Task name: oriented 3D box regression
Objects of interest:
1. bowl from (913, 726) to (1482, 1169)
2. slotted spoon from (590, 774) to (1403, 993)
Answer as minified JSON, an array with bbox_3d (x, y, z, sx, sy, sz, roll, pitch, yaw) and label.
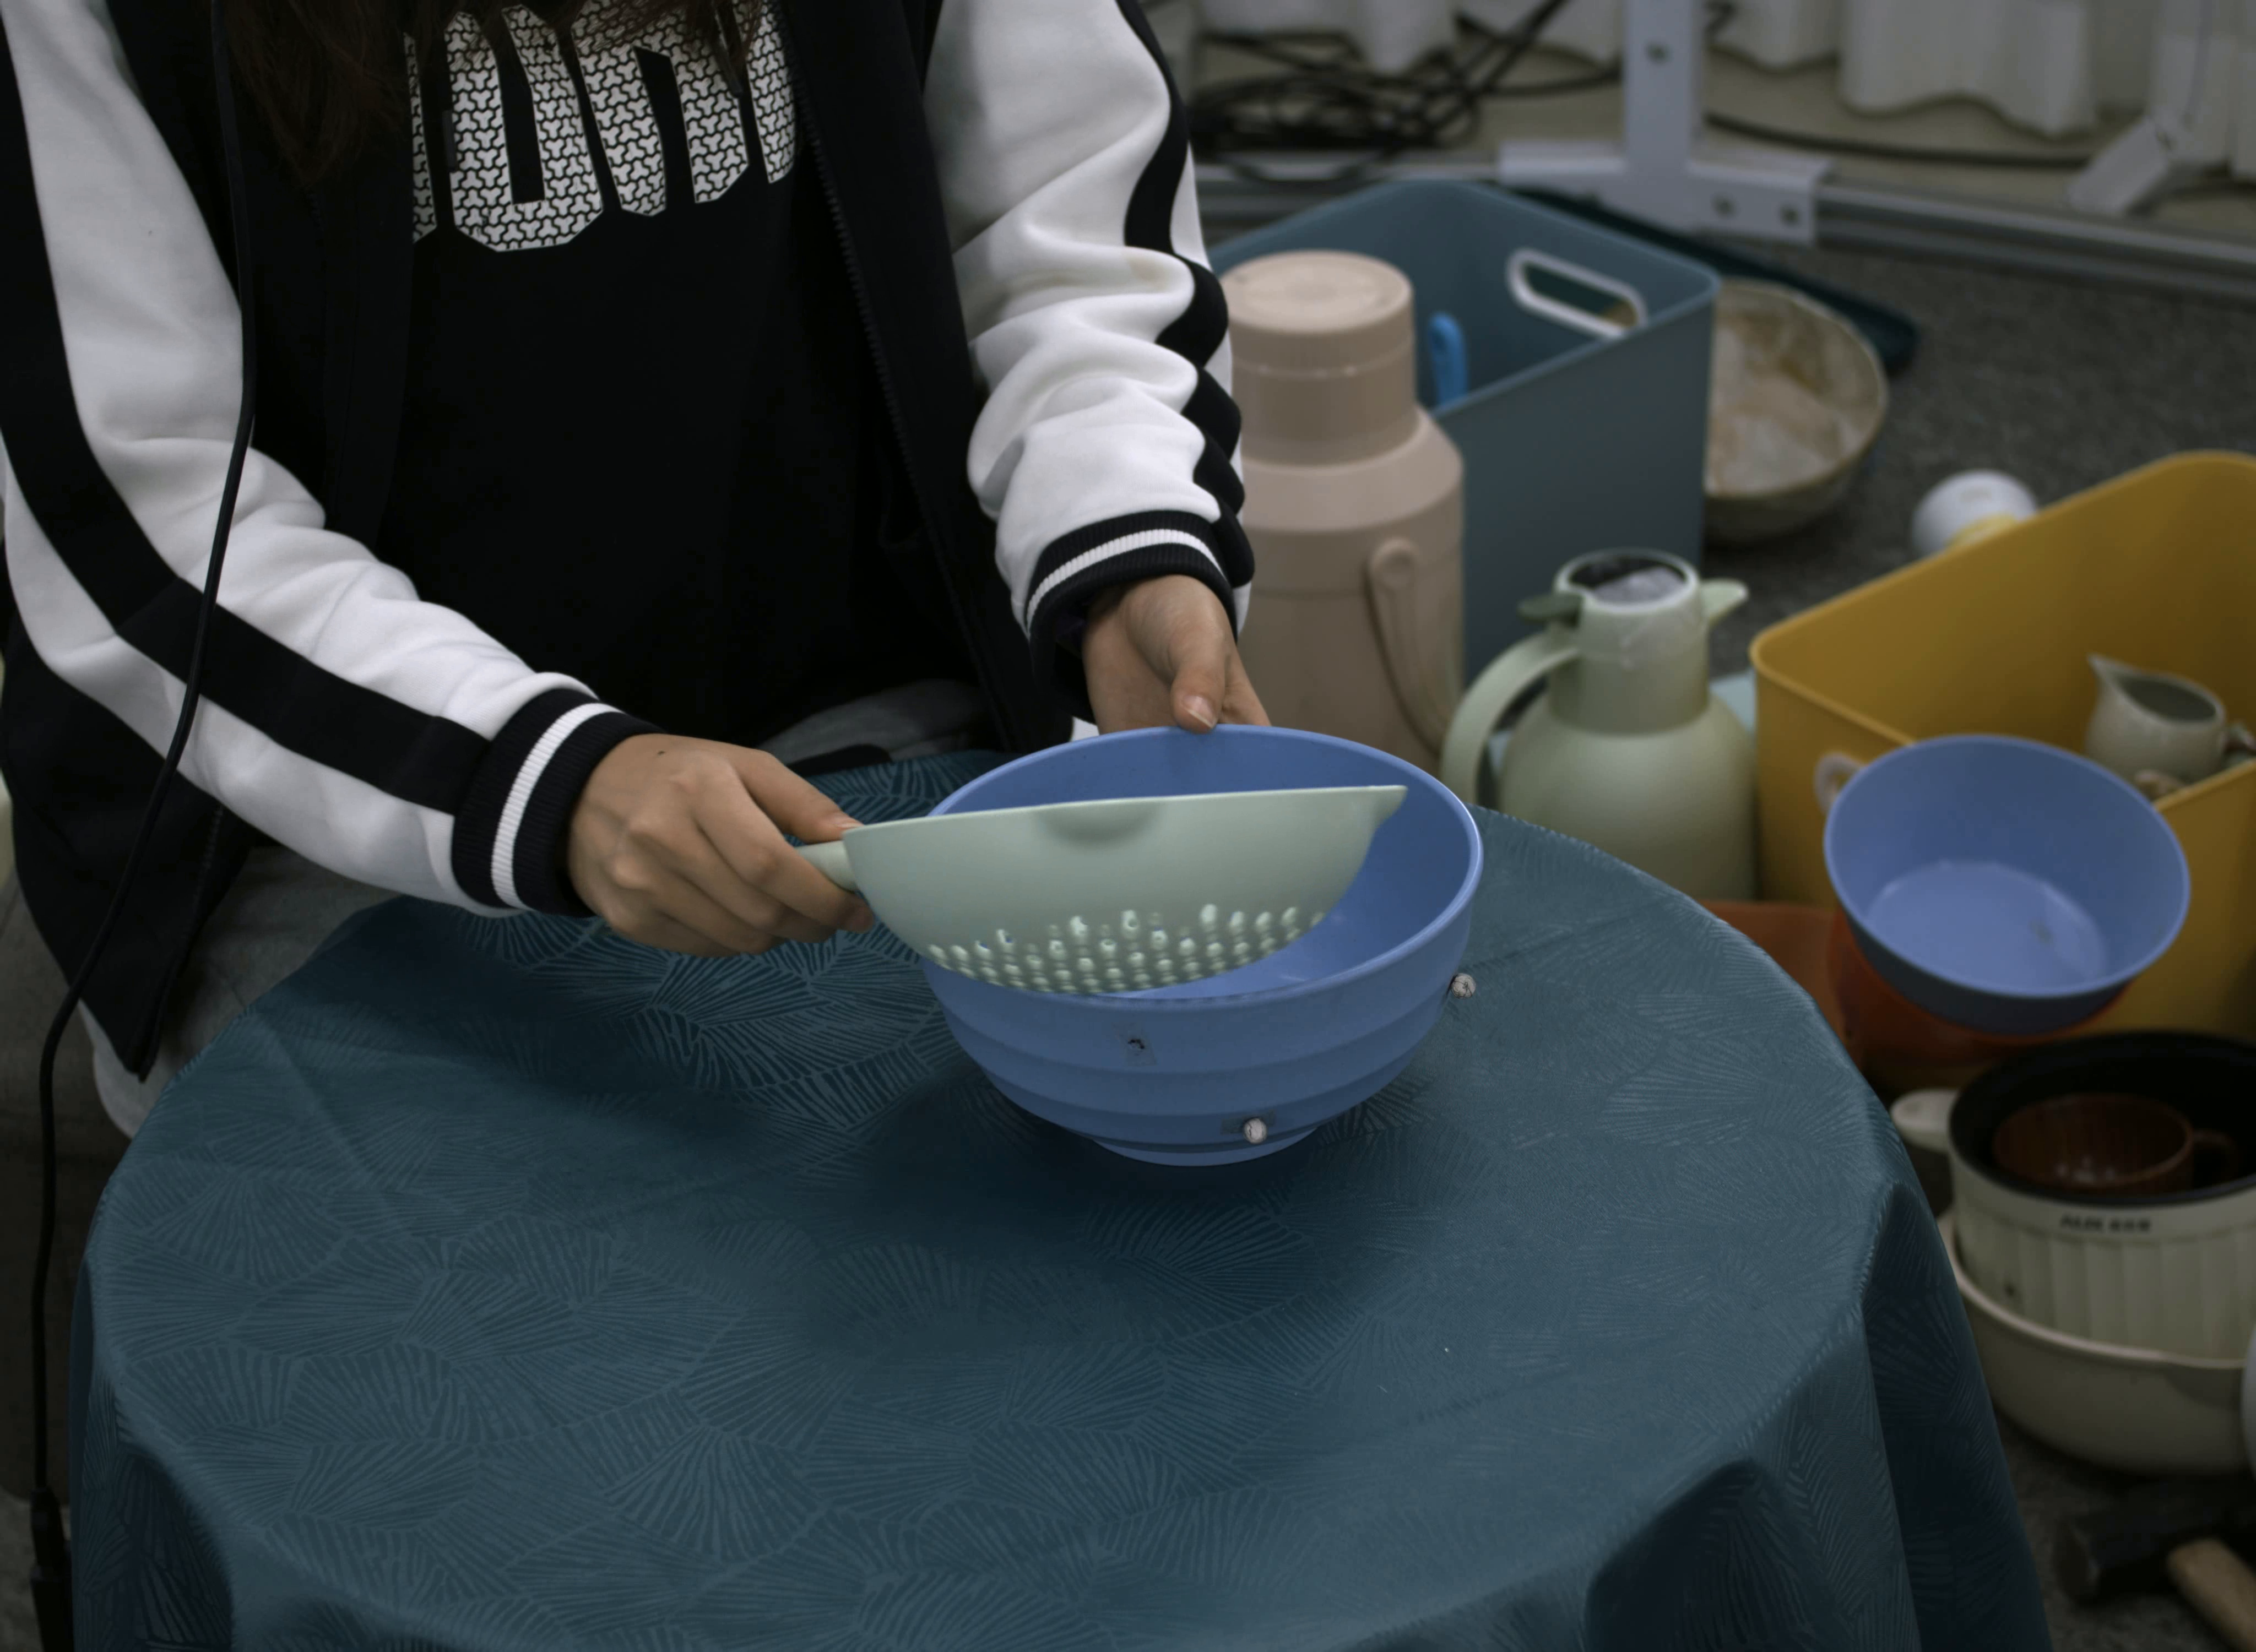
[{"bbox_3d":[0.023,0.052,1.893,0.195,0.094,0.199,-3,27,2],"label":"bowl"},{"bbox_3d":[-0.069,0.016,1.833,0.170,0.075,0.356,-2,3,-41],"label":"slotted spoon"}]
